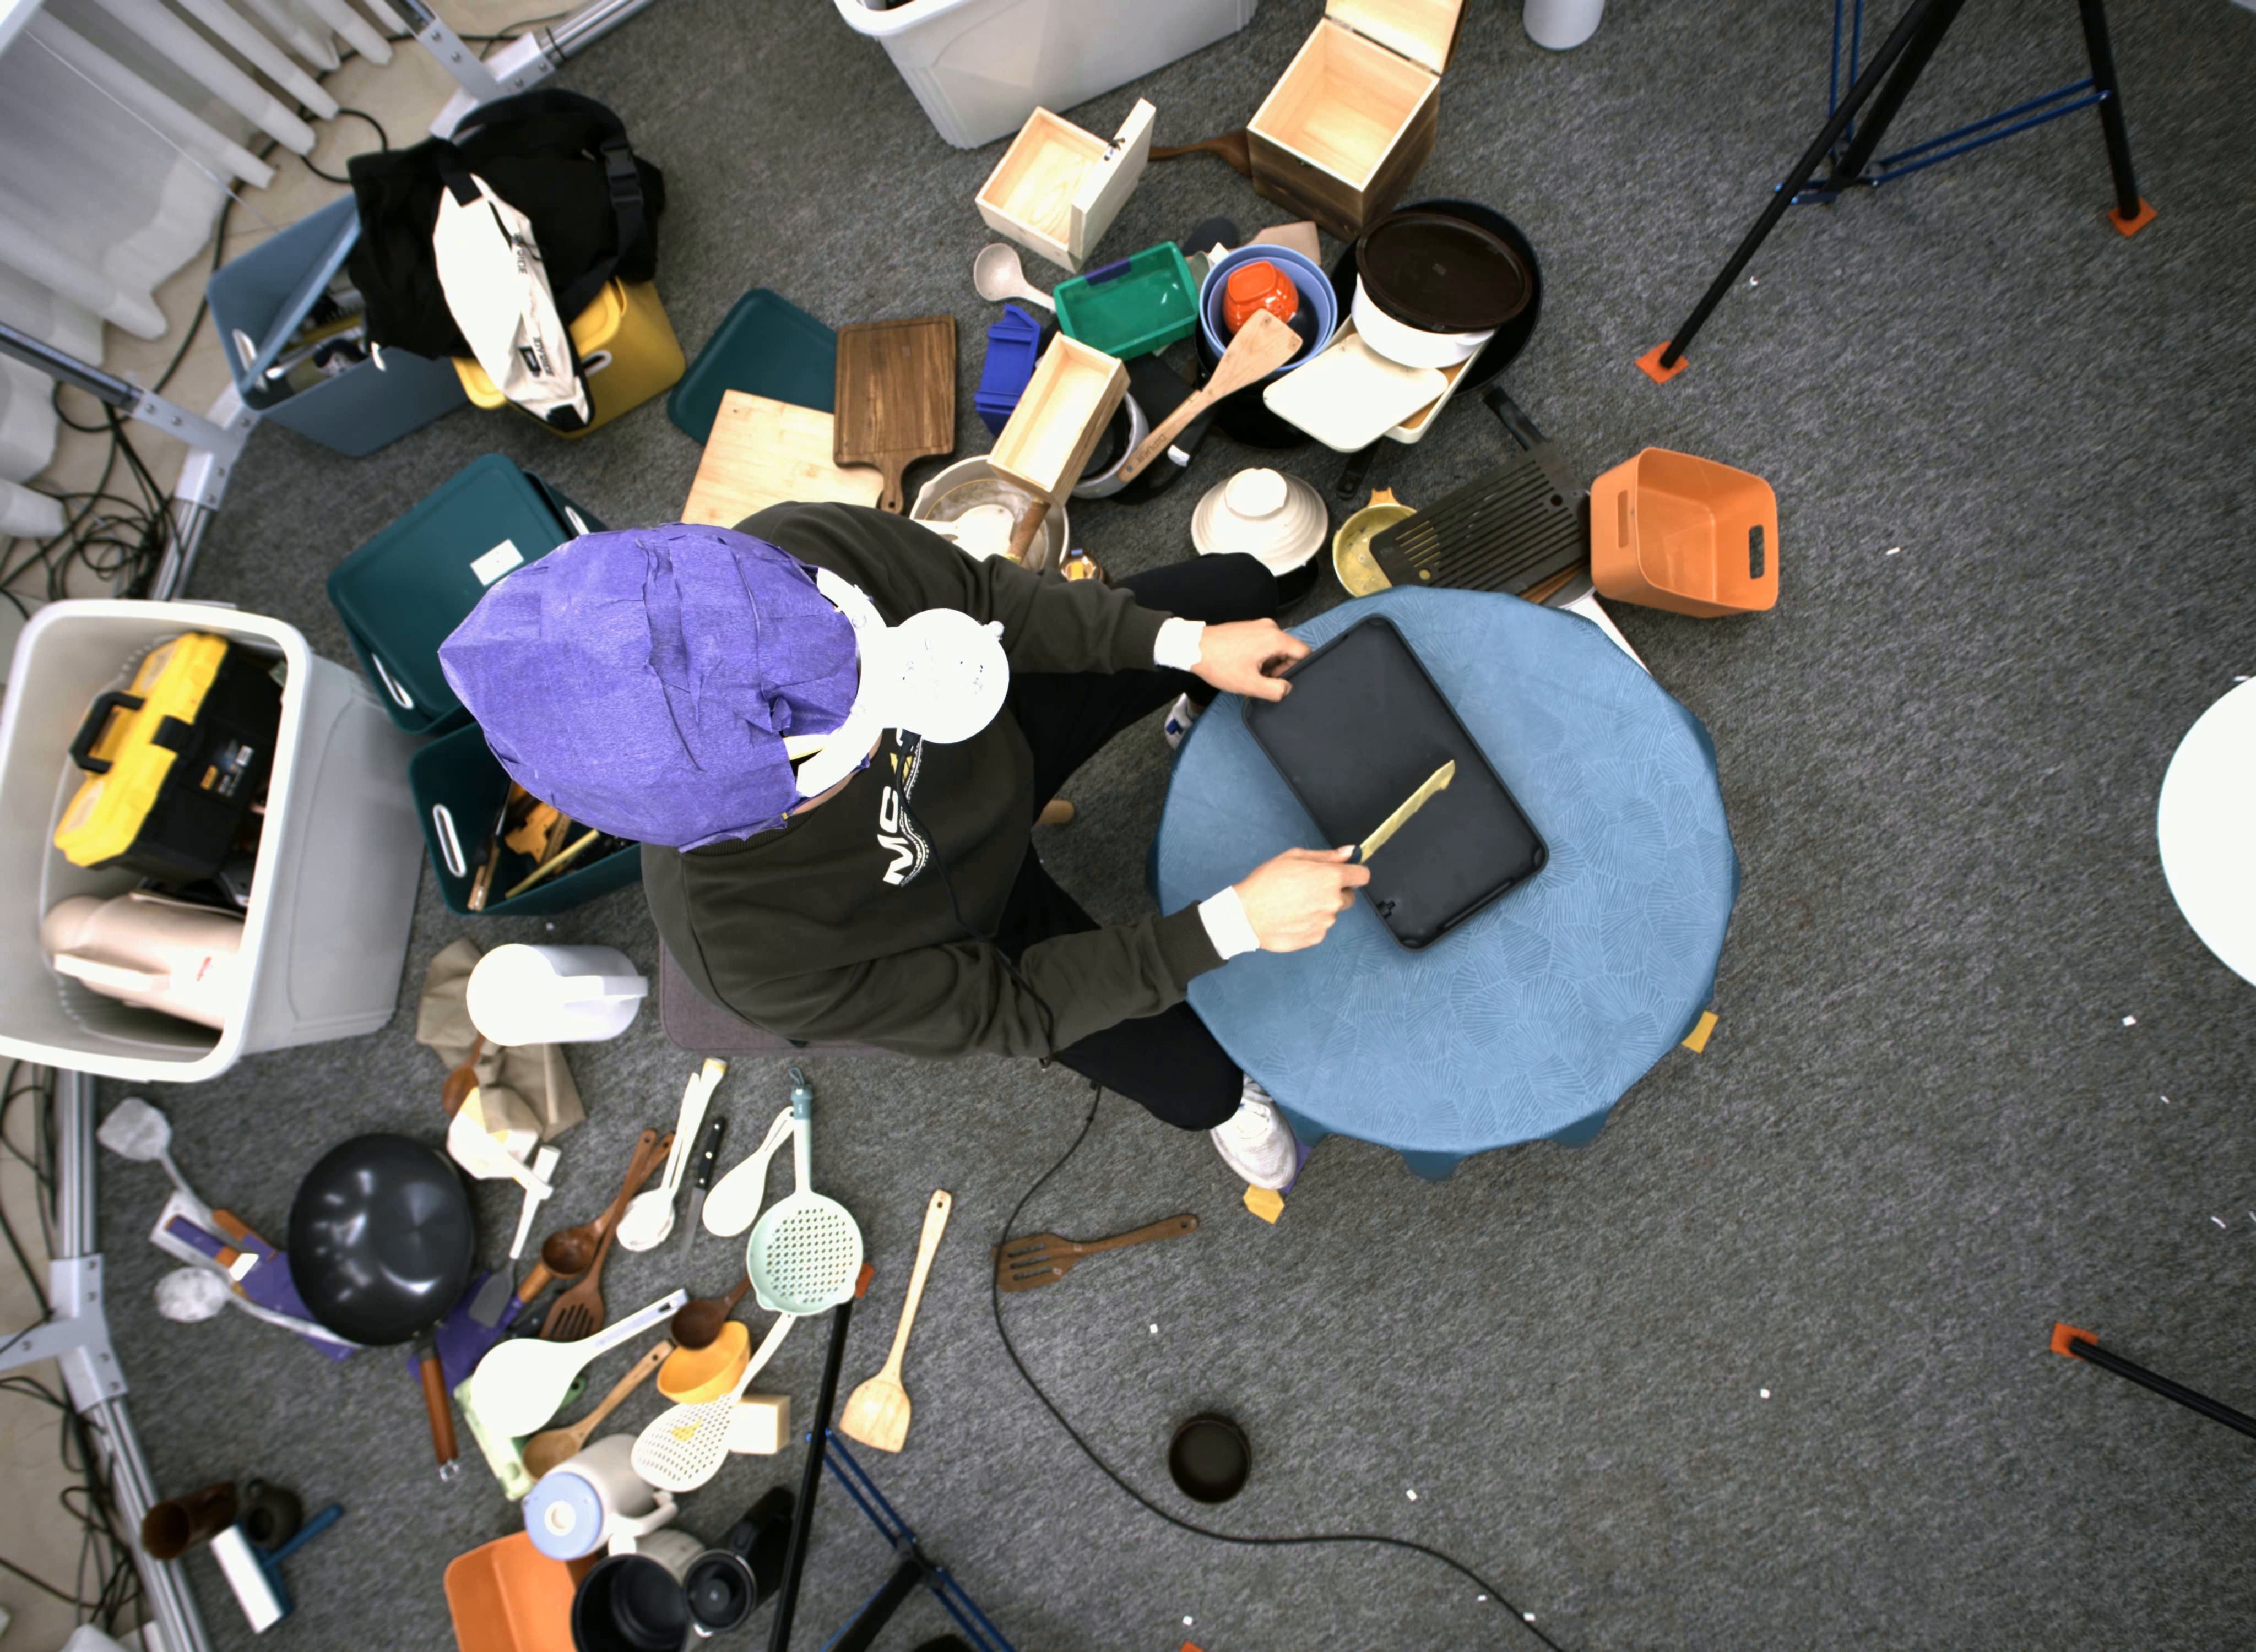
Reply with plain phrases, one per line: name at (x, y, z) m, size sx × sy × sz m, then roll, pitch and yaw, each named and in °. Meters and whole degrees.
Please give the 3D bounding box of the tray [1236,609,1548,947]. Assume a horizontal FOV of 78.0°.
tray at (0.270, -0.050, 1.414) m, size 0.185 × 0.037 × 0.318 m, roll -36°, pitch 94°, yaw 9°

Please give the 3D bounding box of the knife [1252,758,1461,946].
knife at (0.232, 0.022, 1.373) m, size 0.287 × 0.082 × 0.027 m, roll -40°, pitch 70°, yaw -11°
